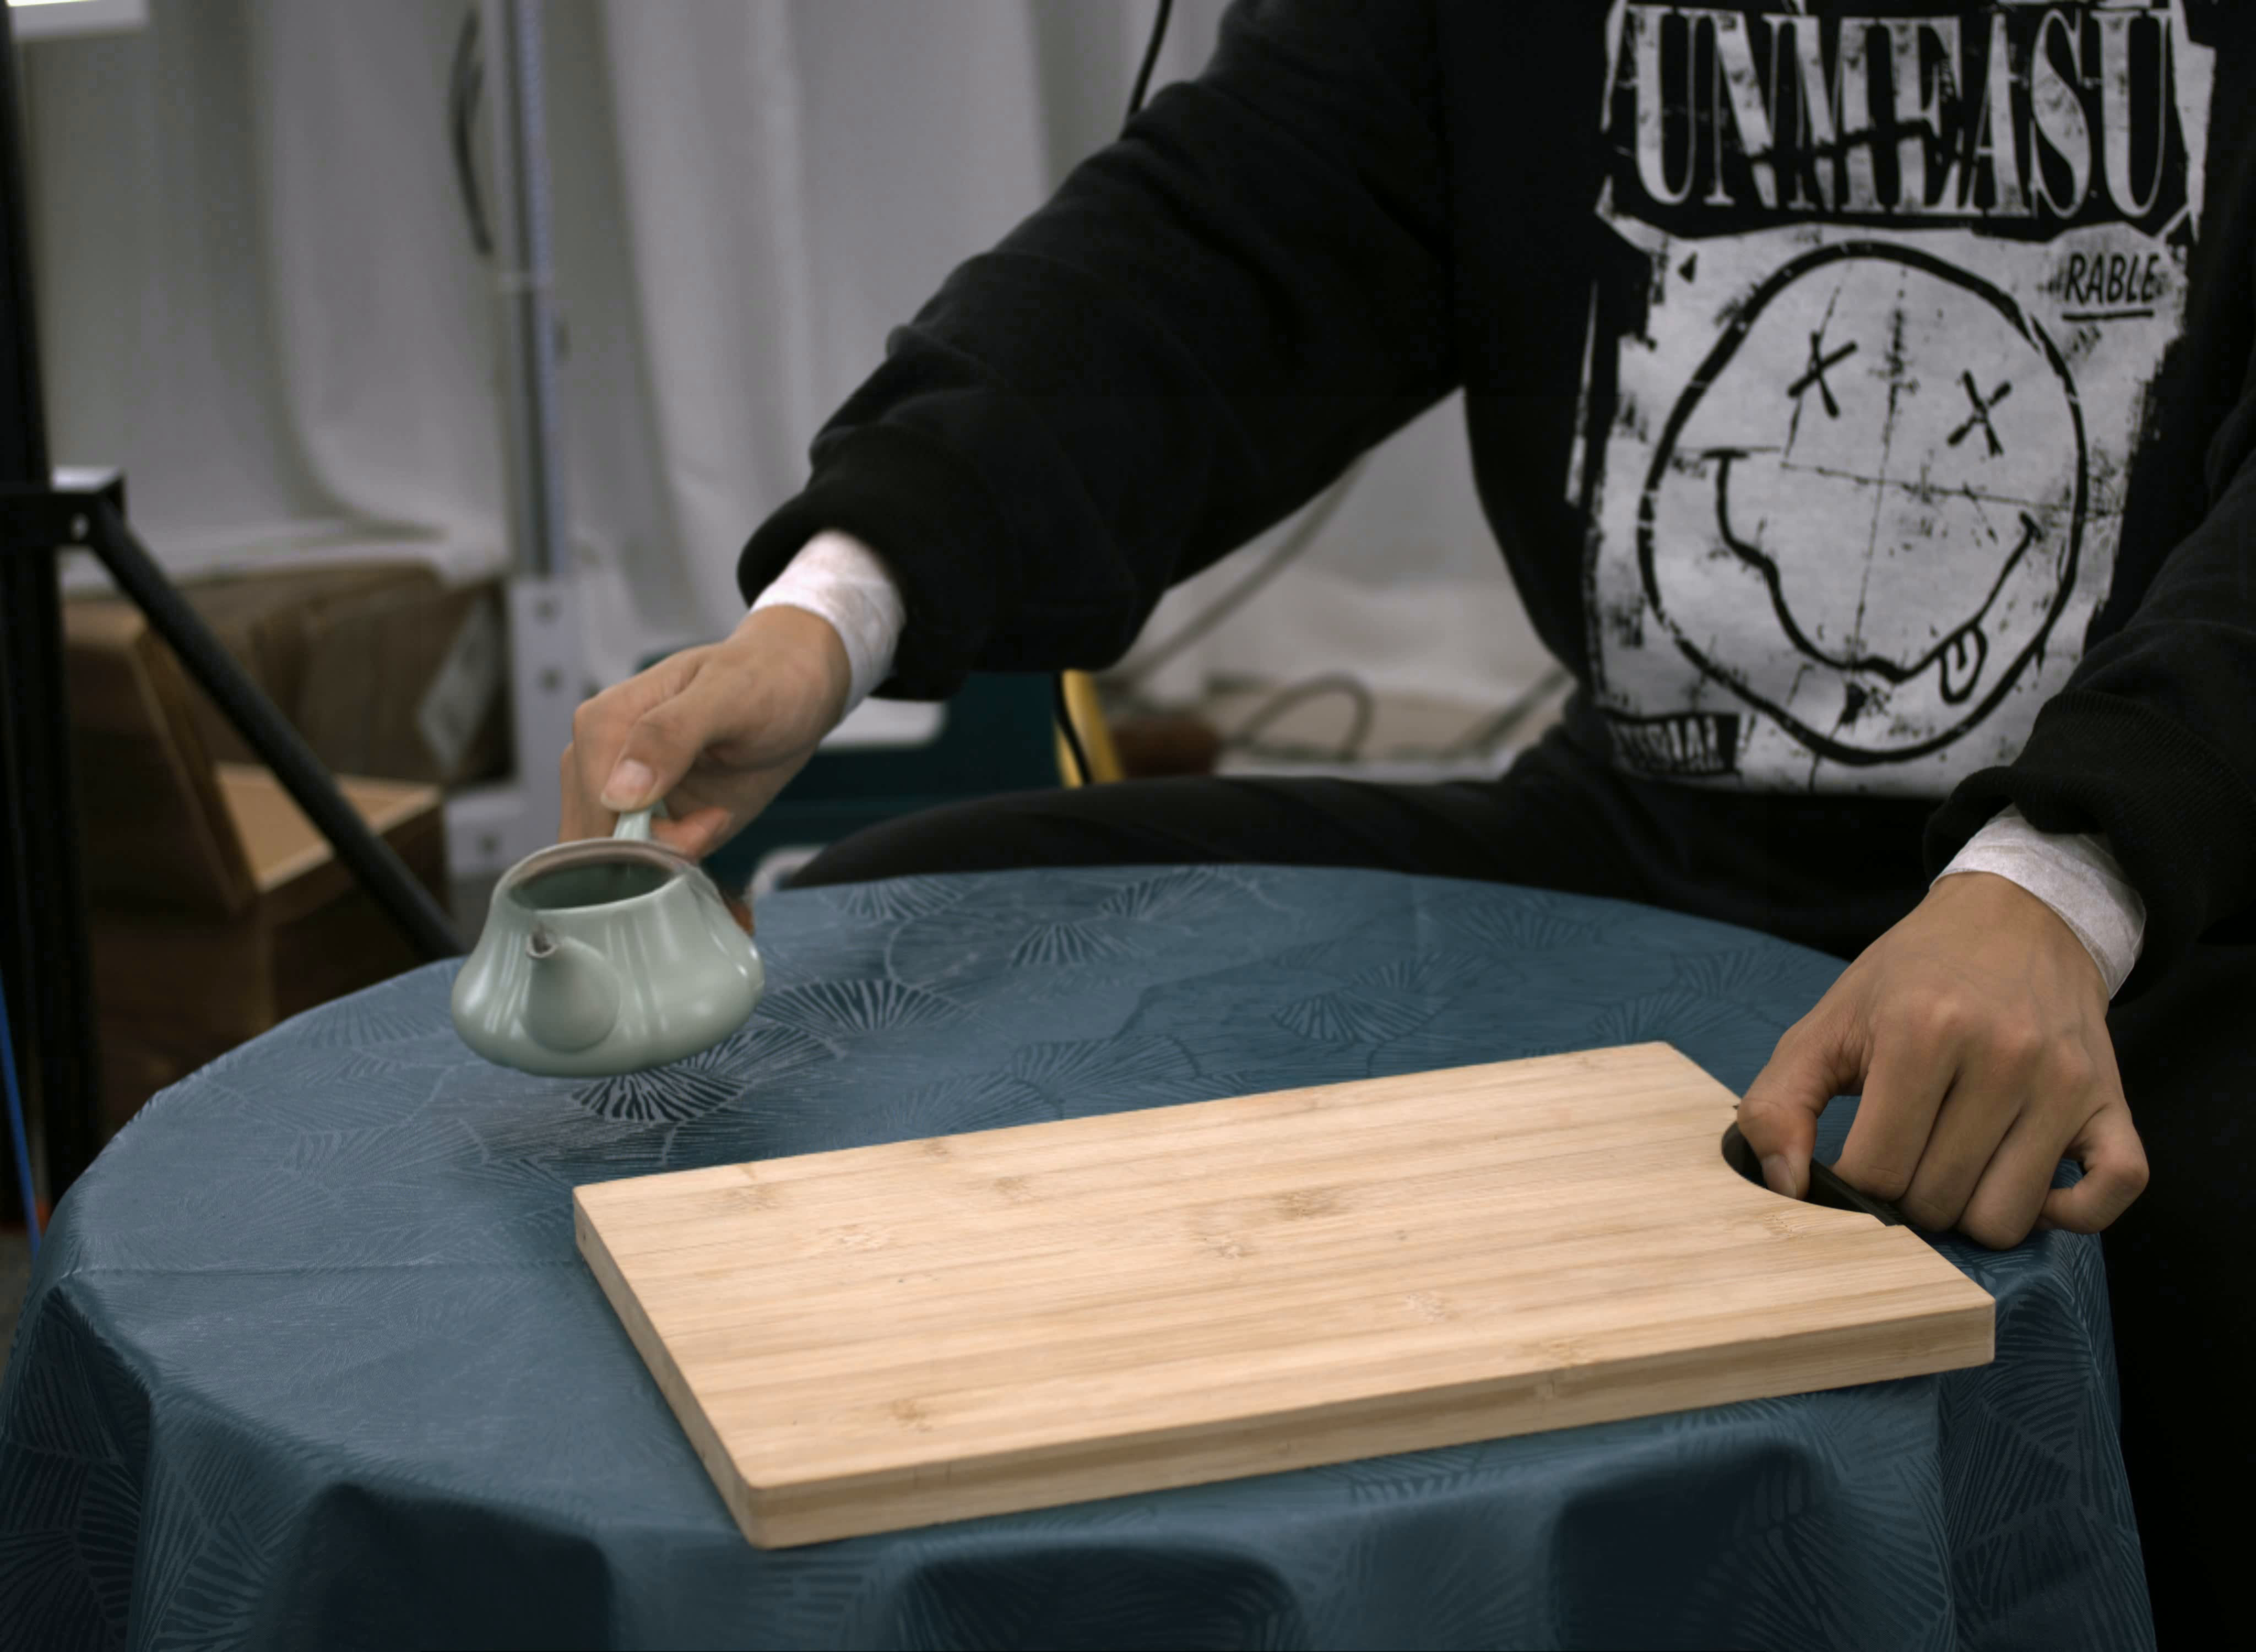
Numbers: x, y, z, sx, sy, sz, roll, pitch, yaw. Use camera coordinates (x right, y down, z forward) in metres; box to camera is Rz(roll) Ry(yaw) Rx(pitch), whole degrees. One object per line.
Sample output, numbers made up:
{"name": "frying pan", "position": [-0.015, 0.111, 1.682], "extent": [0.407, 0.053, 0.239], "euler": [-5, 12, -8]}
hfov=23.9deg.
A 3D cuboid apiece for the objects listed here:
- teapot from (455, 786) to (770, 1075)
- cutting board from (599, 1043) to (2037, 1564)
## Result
{"name": "teapot", "position": [-0.158, 0.036, 1.627], "extent": [0.096, 0.061, 0.137], "euler": [-3, 21, 10]}
{"name": "cutting board", "position": [0.041, 0.124, 1.461], "extent": [0.343, 0.023, 0.254], "euler": [-7, 17, -15]}
